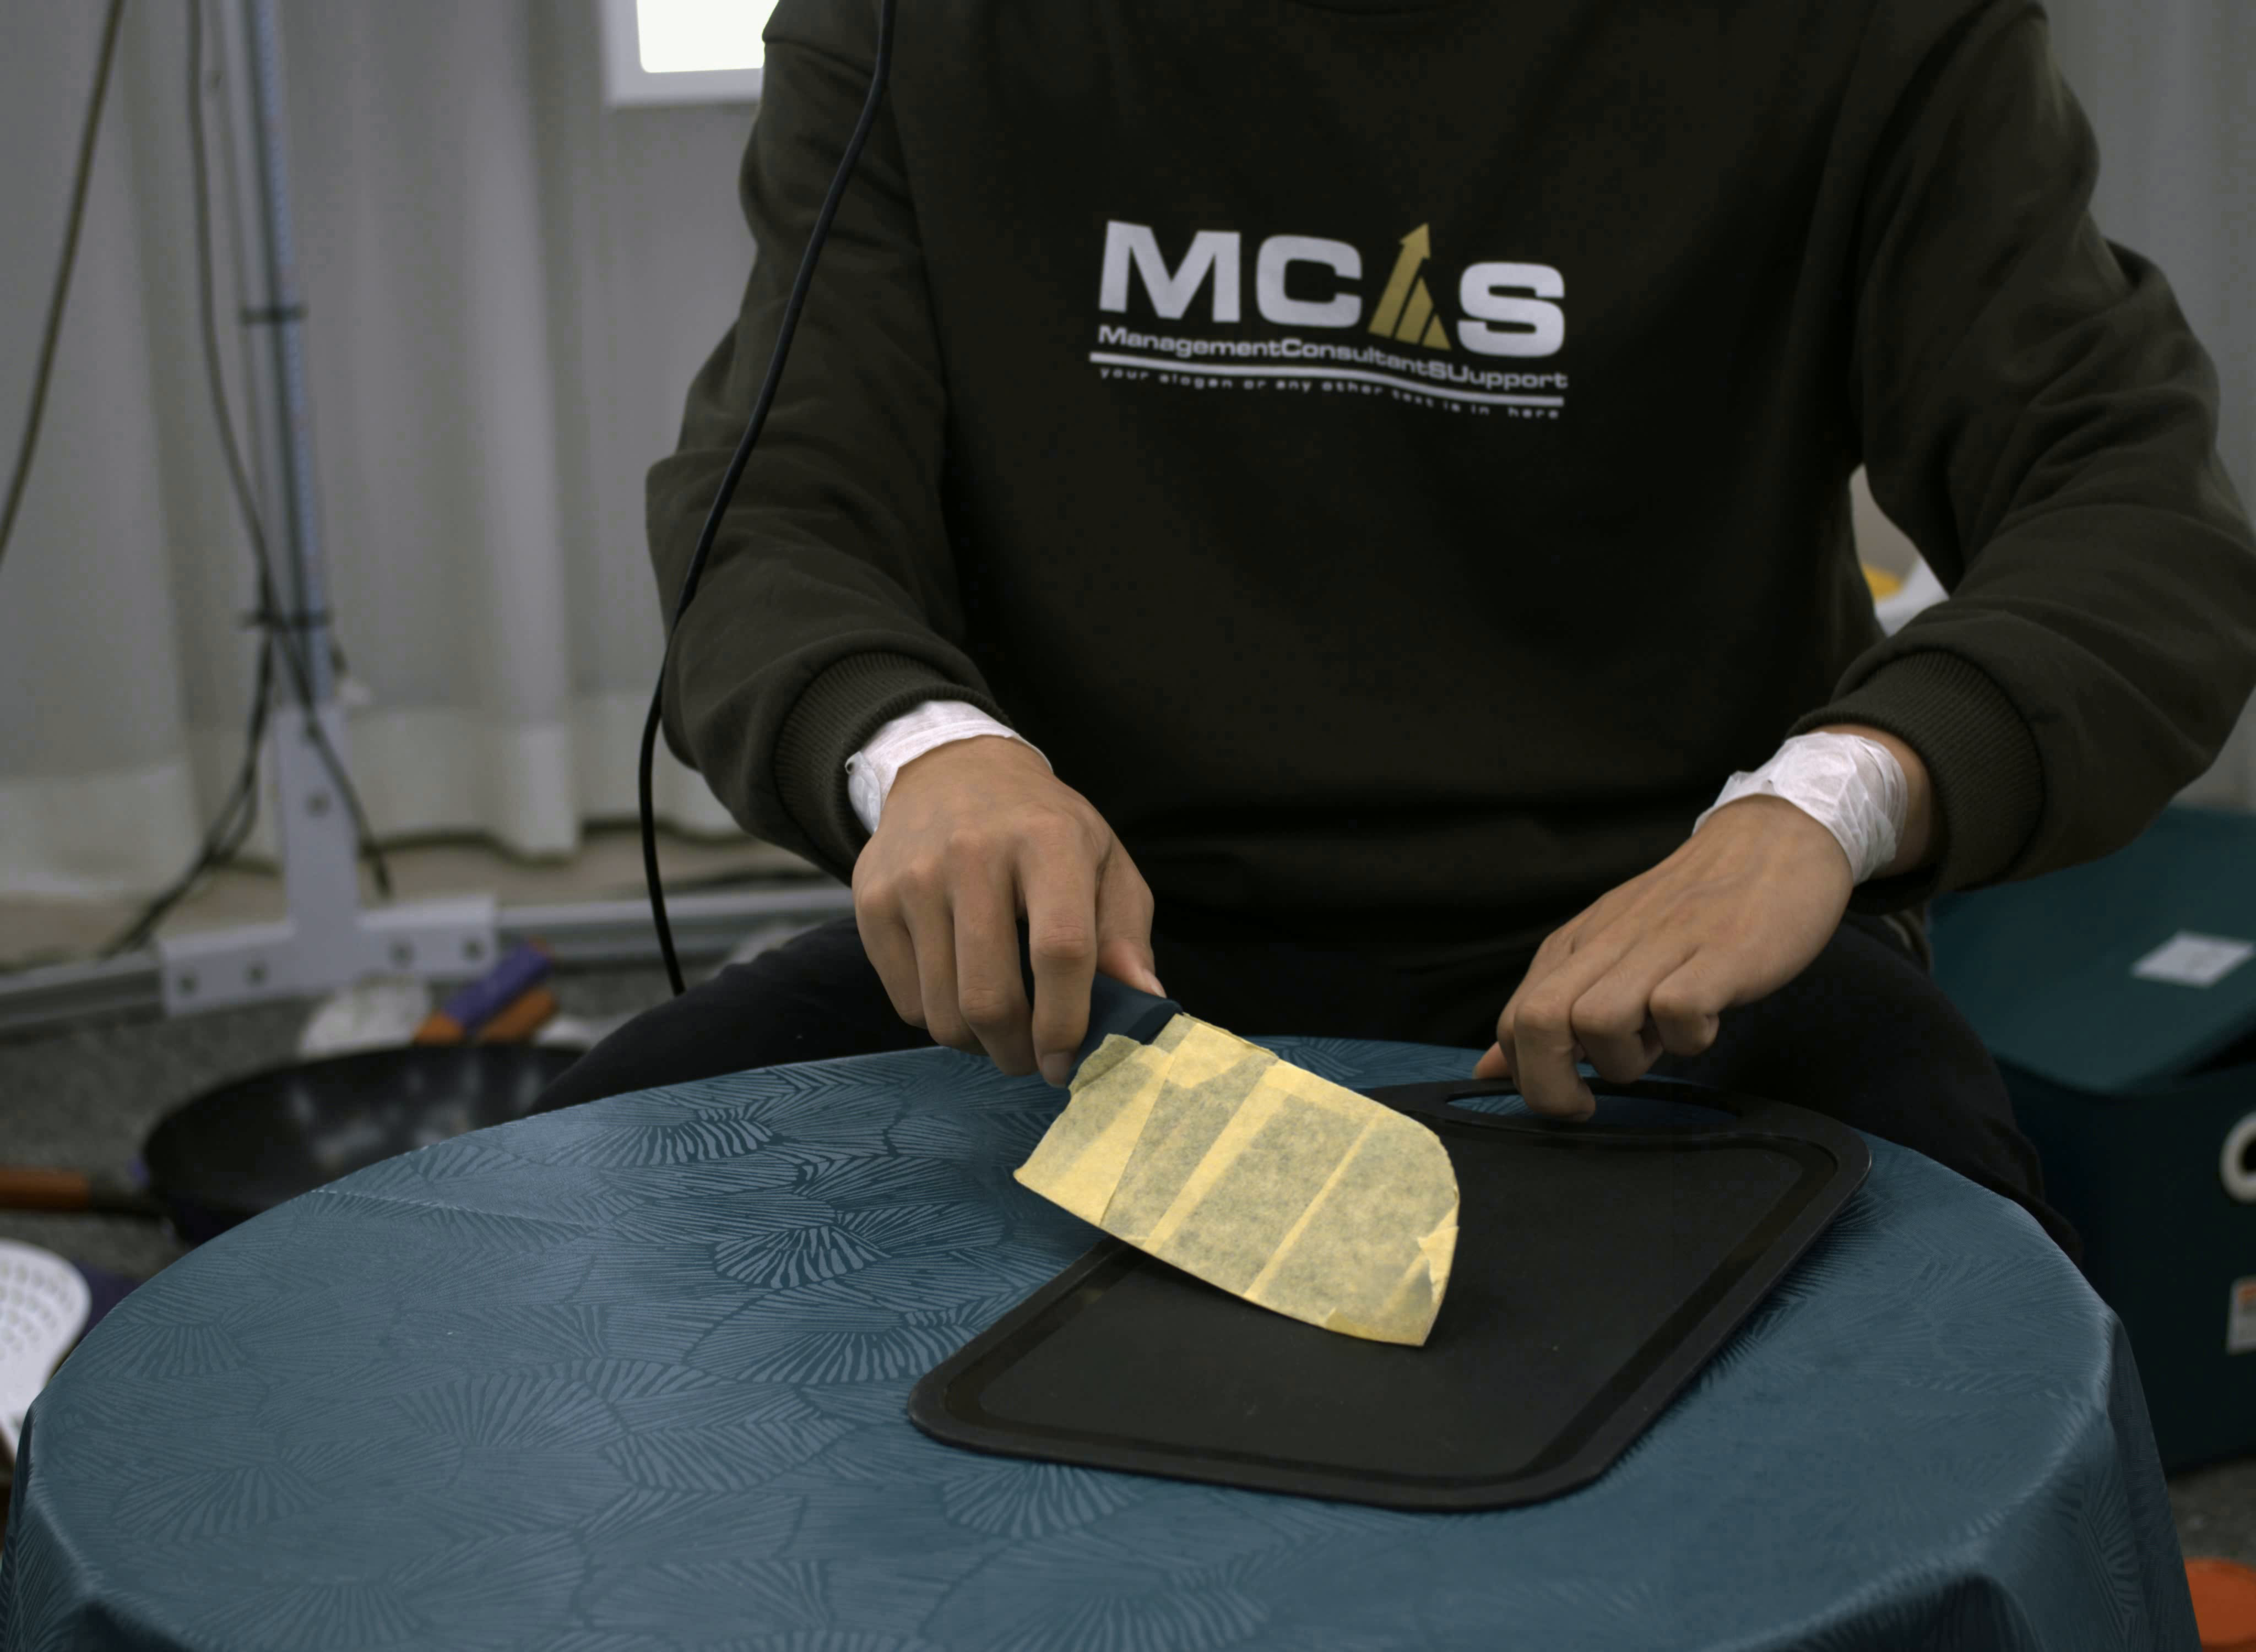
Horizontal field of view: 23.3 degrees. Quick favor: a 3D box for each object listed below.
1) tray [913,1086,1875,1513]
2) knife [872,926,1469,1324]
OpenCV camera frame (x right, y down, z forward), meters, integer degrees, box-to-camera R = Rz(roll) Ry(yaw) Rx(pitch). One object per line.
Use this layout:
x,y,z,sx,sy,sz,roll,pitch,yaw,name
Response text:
0.087,0.130,1.613,0.211,0.010,0.326,4,18,26,tray
0.004,0.088,1.664,0.081,0.027,0.292,-48,40,-14,knife
